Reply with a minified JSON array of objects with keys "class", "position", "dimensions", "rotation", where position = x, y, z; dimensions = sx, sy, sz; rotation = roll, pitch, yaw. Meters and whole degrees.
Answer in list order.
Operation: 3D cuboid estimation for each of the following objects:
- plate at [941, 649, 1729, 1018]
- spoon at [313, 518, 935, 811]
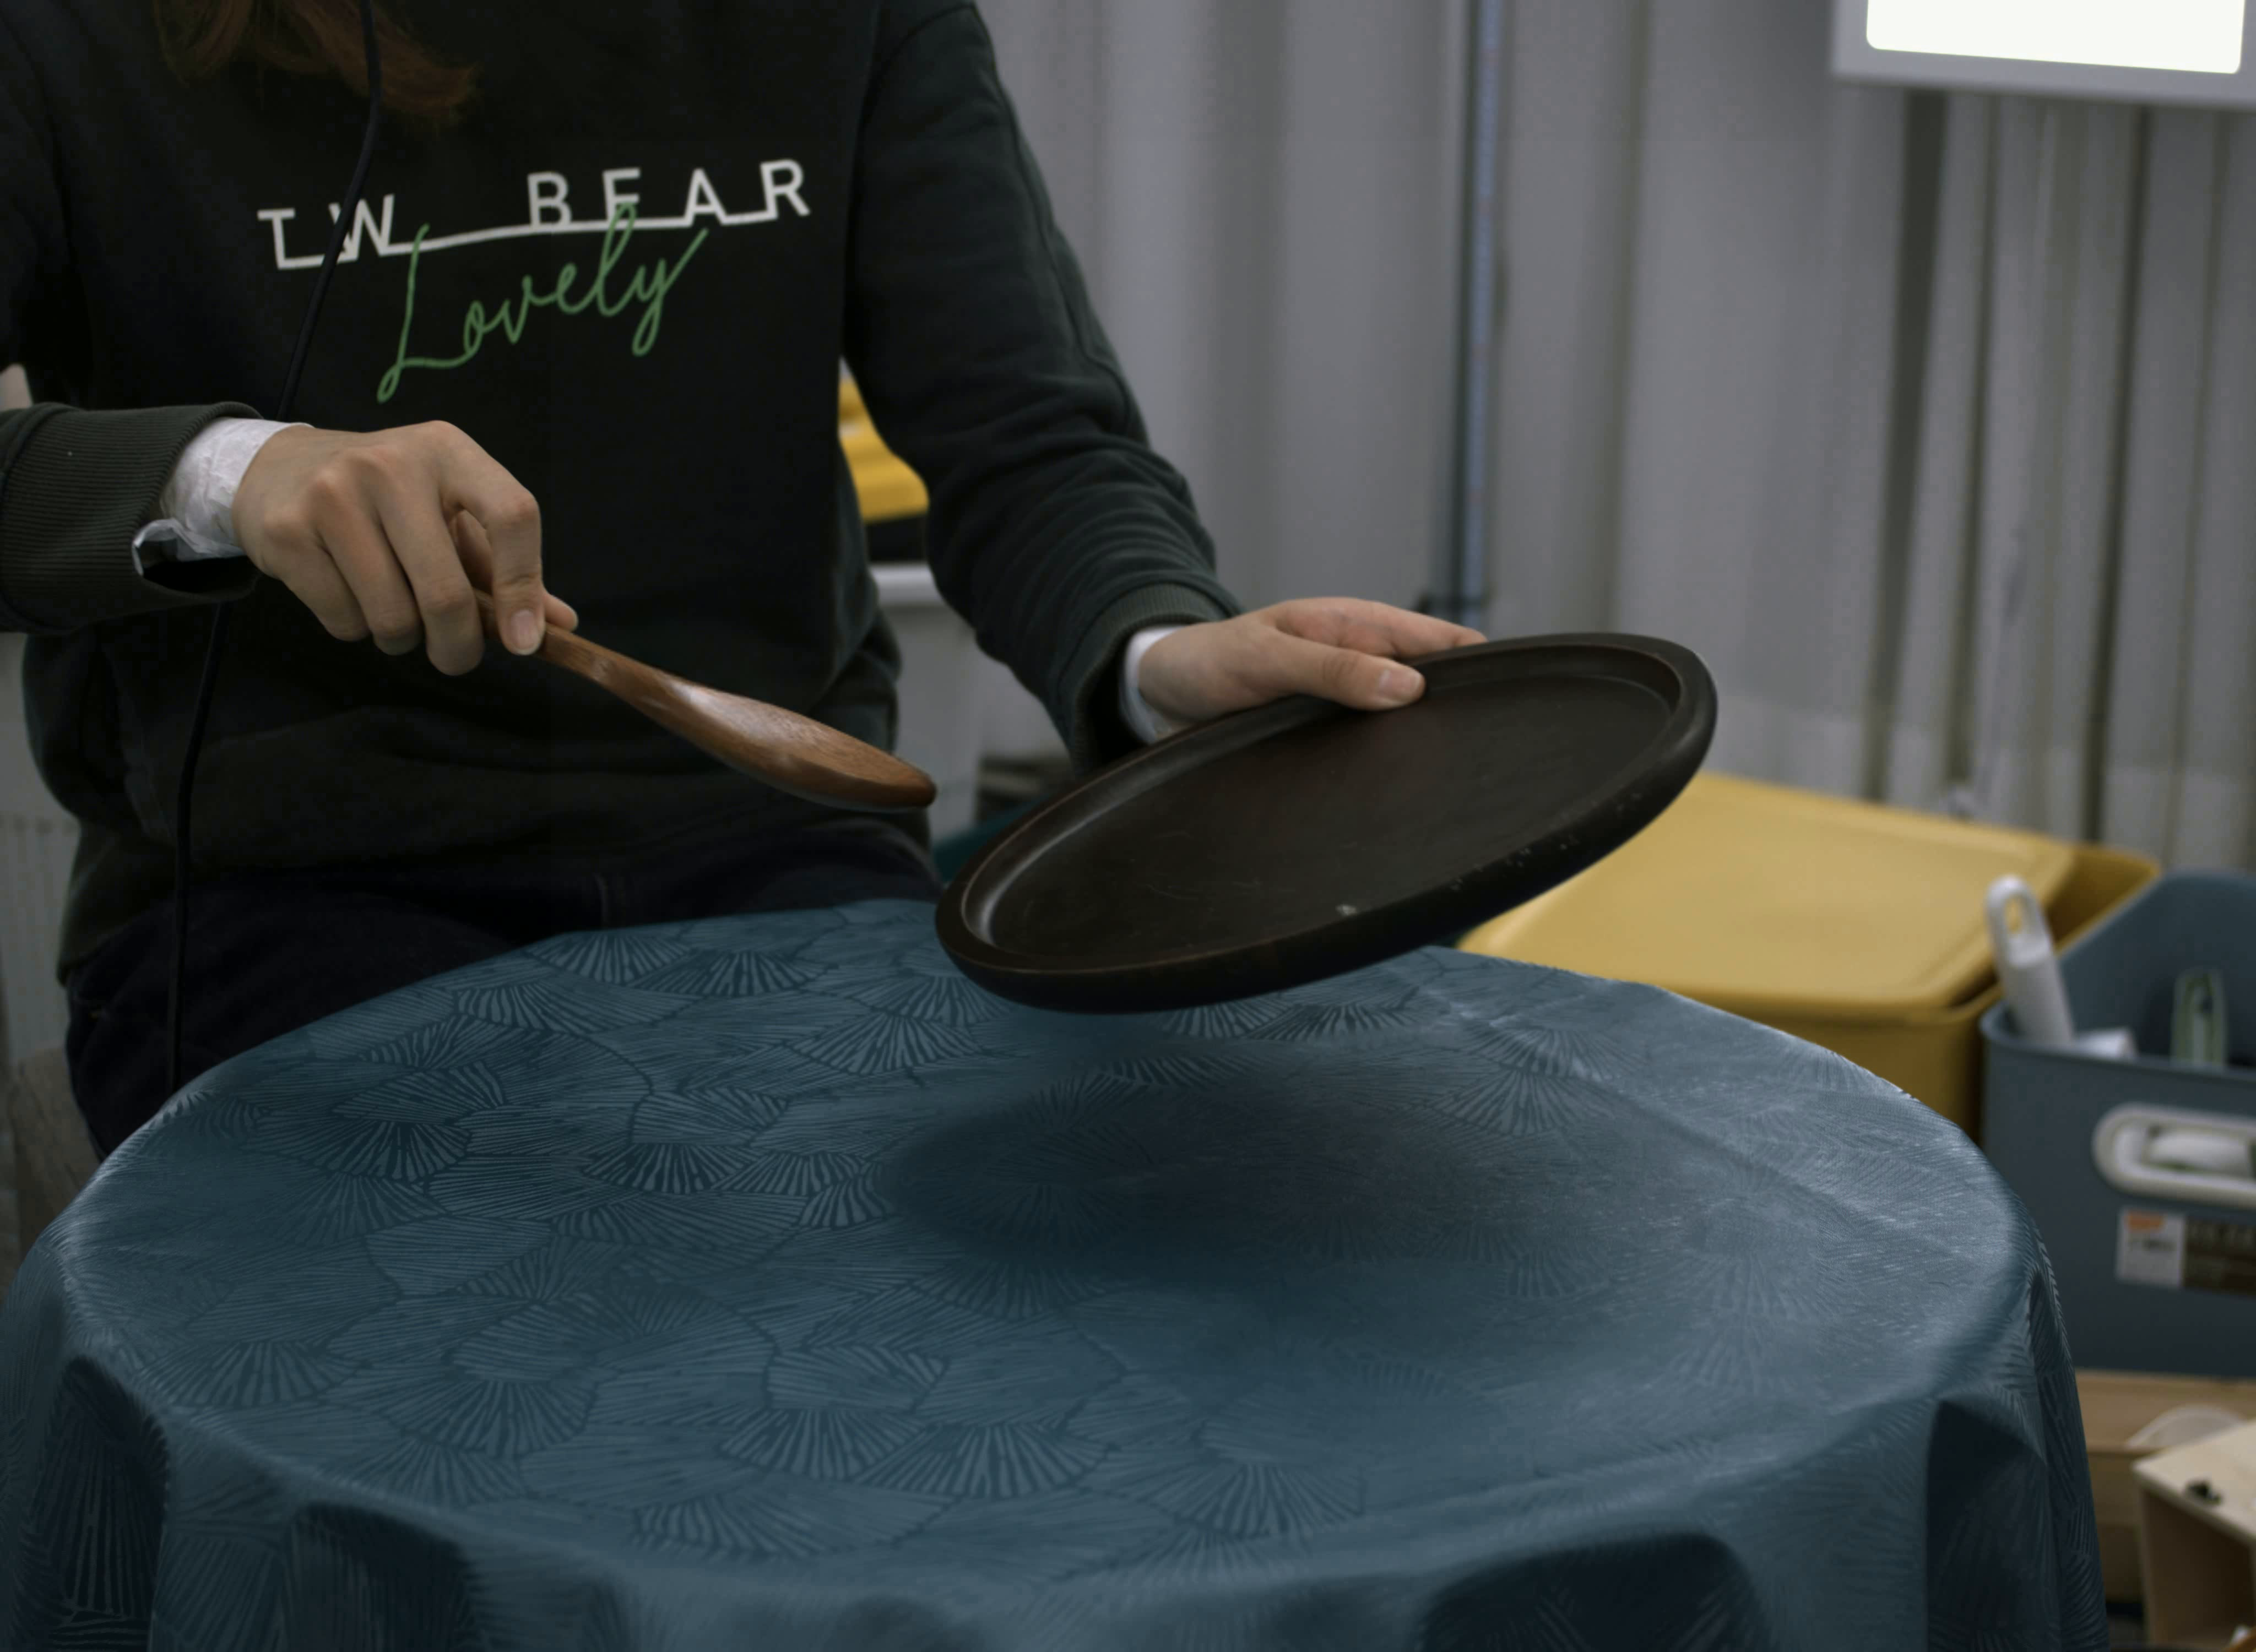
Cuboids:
[{"class":"plate","position":[0.064,0.000,1.629],"dimensions":[0.254,0.029,0.253],"rotation":[-16,17,6]},{"class":"spoon","position":[-0.156,-0.047,1.603],"dimensions":[0.214,0.017,0.076],"rotation":[25,11,16]}]
